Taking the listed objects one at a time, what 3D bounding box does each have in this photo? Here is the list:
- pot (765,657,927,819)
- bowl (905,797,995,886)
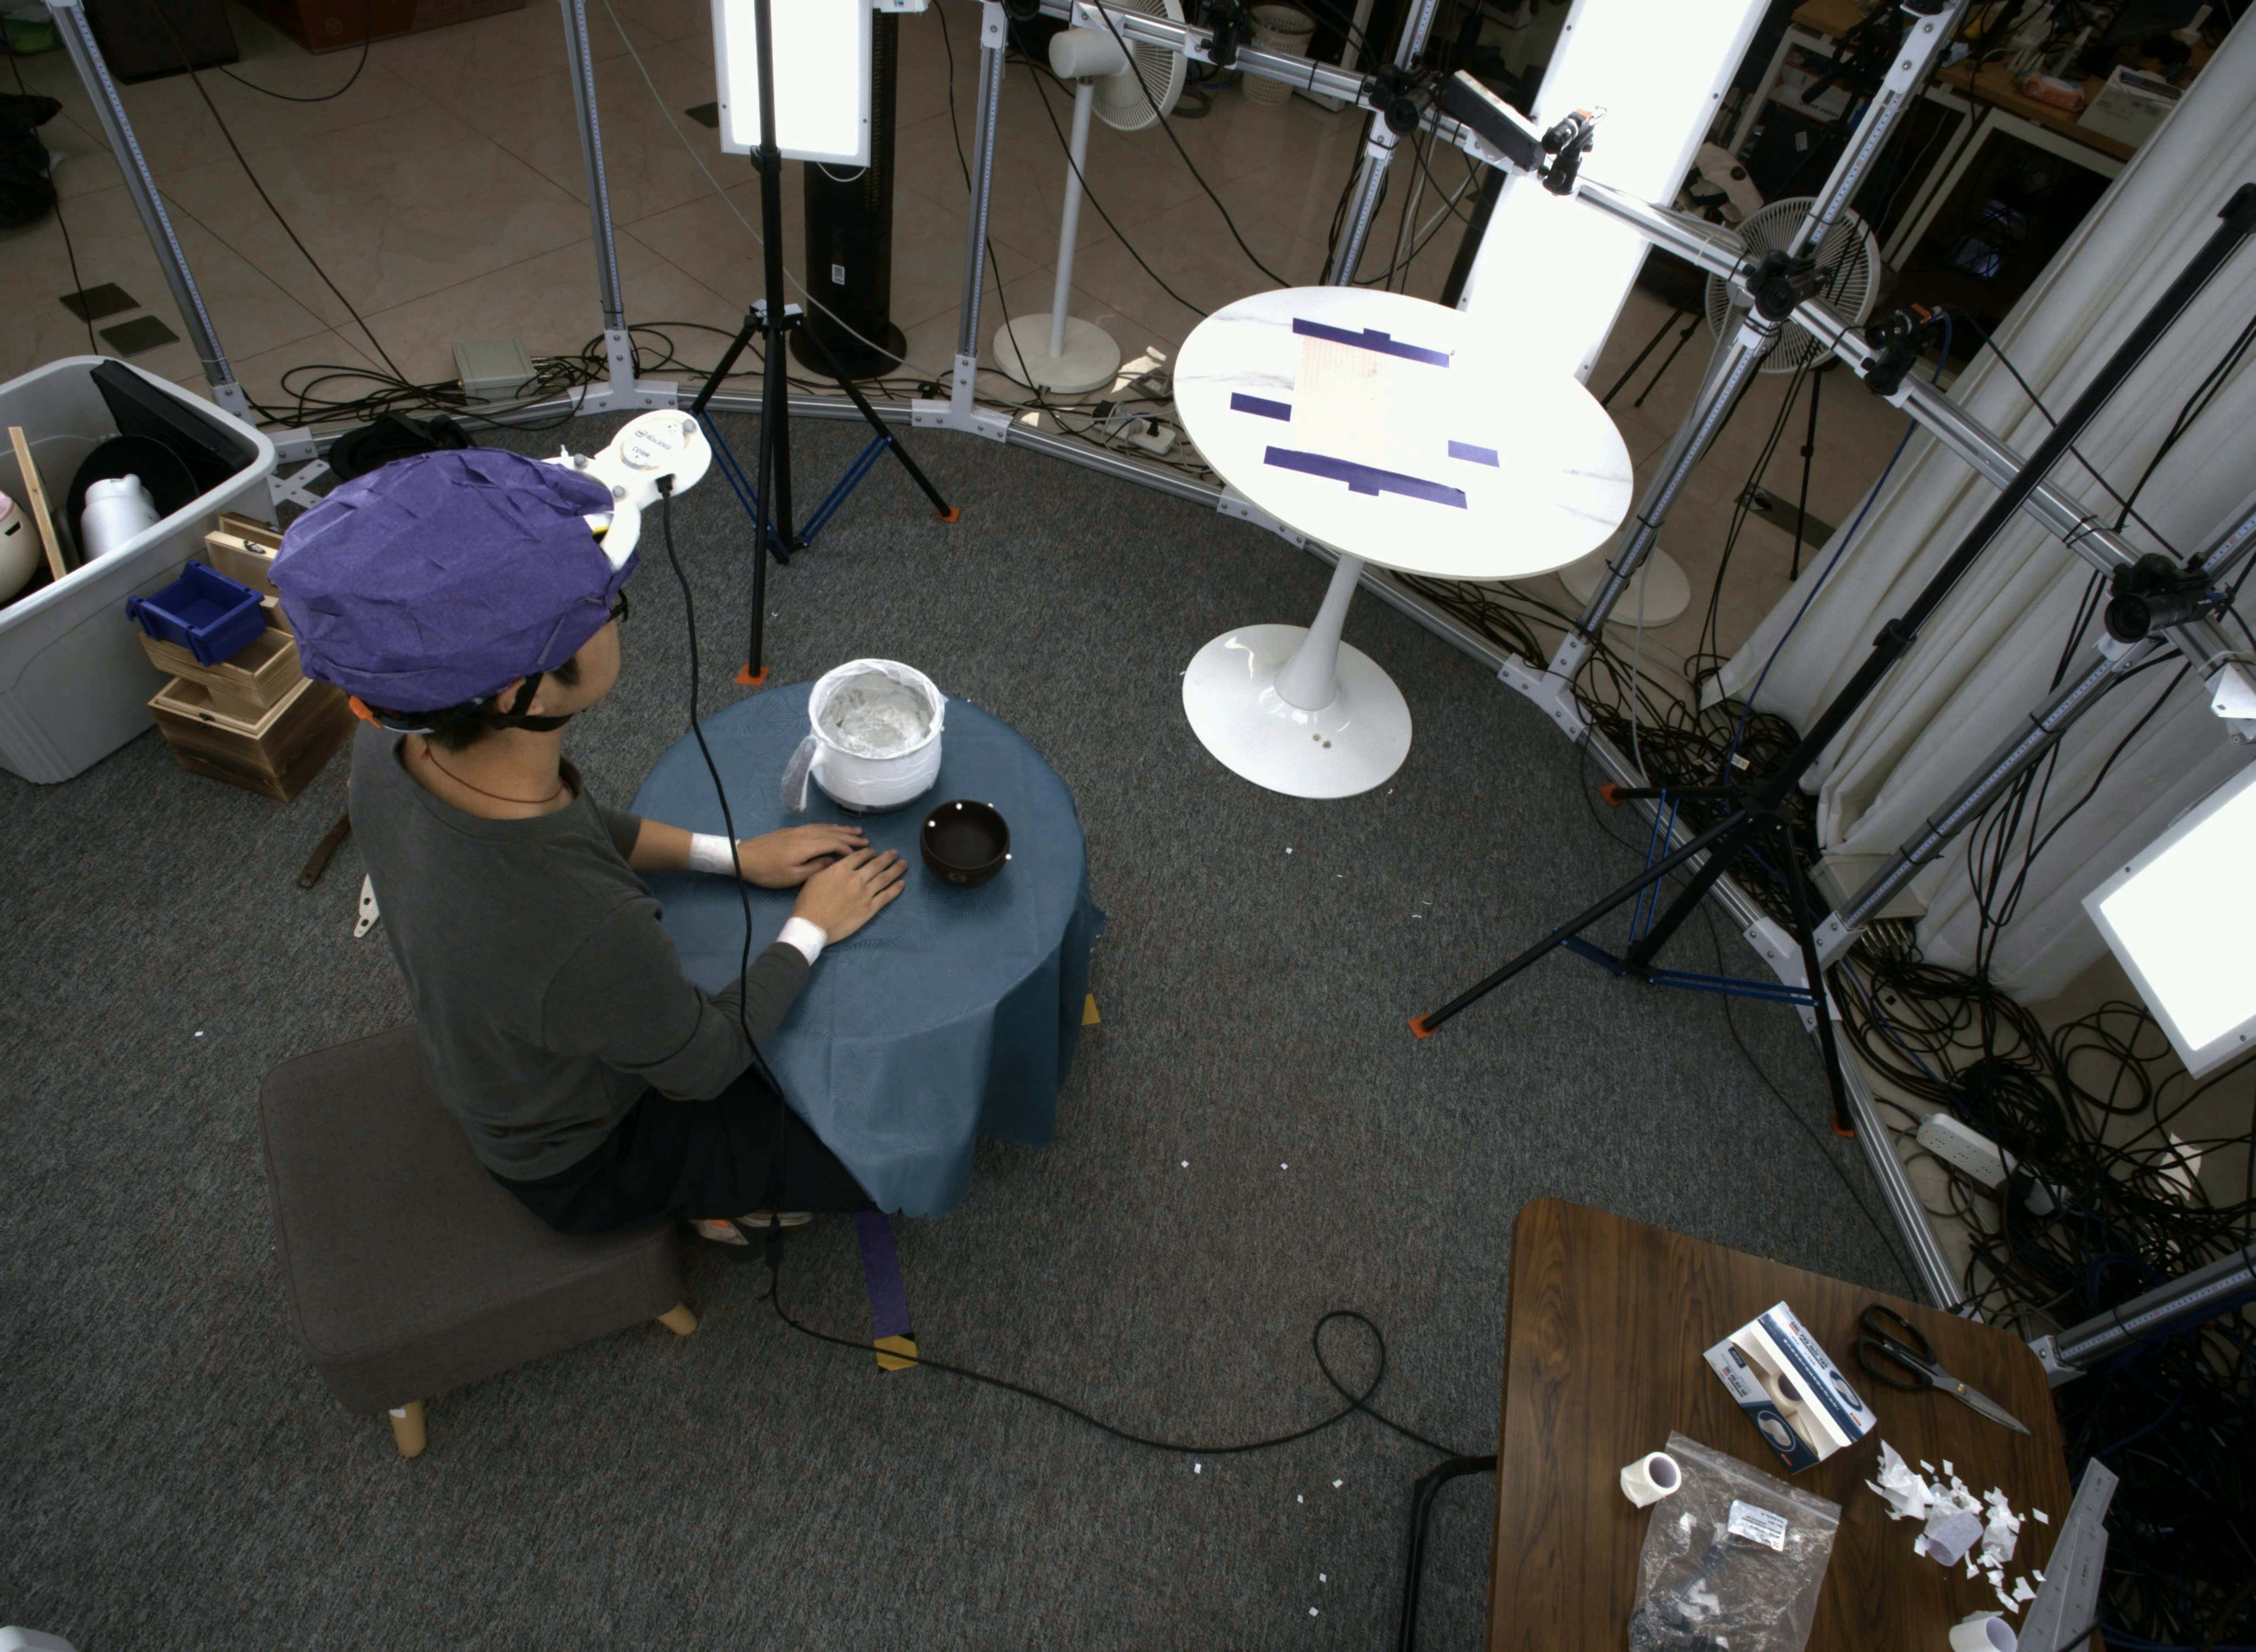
[{"bbox_3d":[-0.382,-0.103,1.736,0.234,0.139,0.175,-35,68,-31],"label":"pot"},{"bbox_3d":[-0.235,0.028,1.717,0.117,0.071,0.116,6,54,-7],"label":"bowl"}]
